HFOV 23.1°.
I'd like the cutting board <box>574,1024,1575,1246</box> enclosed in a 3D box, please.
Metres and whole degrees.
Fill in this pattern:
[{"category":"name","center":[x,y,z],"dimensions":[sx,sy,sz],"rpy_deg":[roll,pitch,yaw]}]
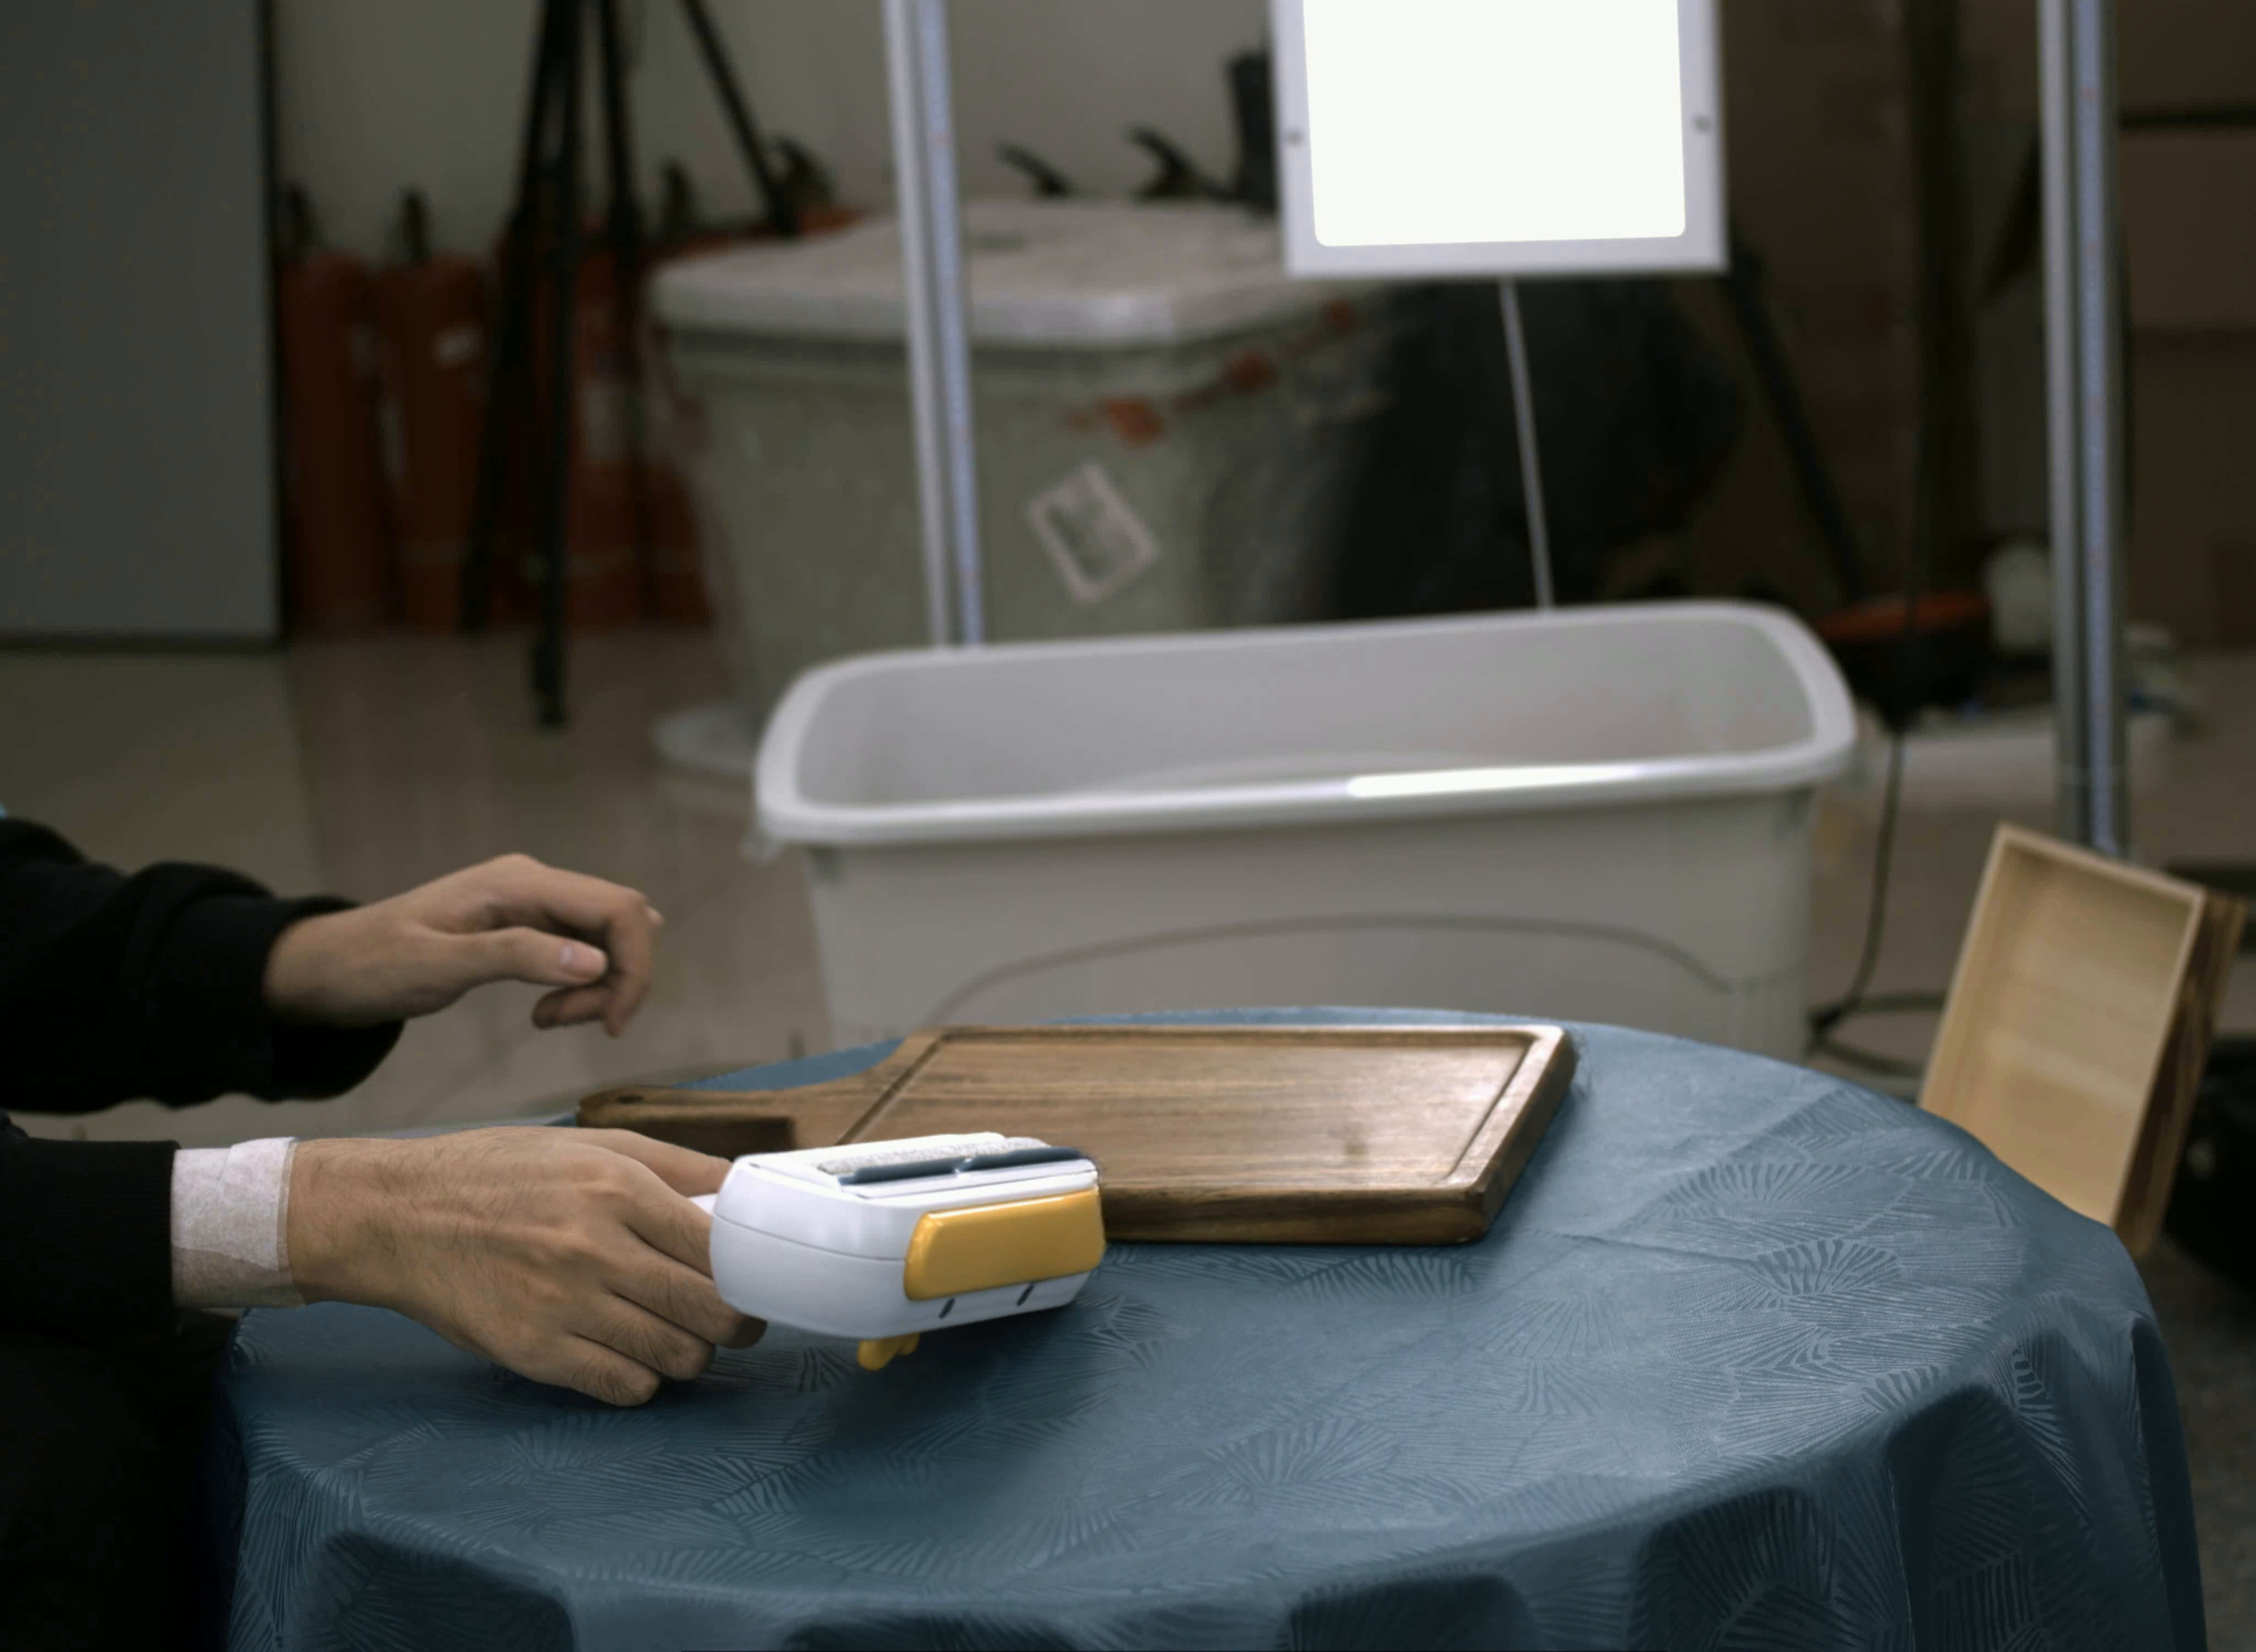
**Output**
[{"category":"cutting board","center":[-0.027,0.108,1.942],"dimensions":[0.356,0.023,0.198],"rpy_deg":[-1,15,16]}]

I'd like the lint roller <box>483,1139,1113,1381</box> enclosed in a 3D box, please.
[{"category":"lint roller","center":[-0.120,0.132,1.750],"dimensions":[0.196,0.074,0.188],"rpy_deg":[4,6,29]}]
